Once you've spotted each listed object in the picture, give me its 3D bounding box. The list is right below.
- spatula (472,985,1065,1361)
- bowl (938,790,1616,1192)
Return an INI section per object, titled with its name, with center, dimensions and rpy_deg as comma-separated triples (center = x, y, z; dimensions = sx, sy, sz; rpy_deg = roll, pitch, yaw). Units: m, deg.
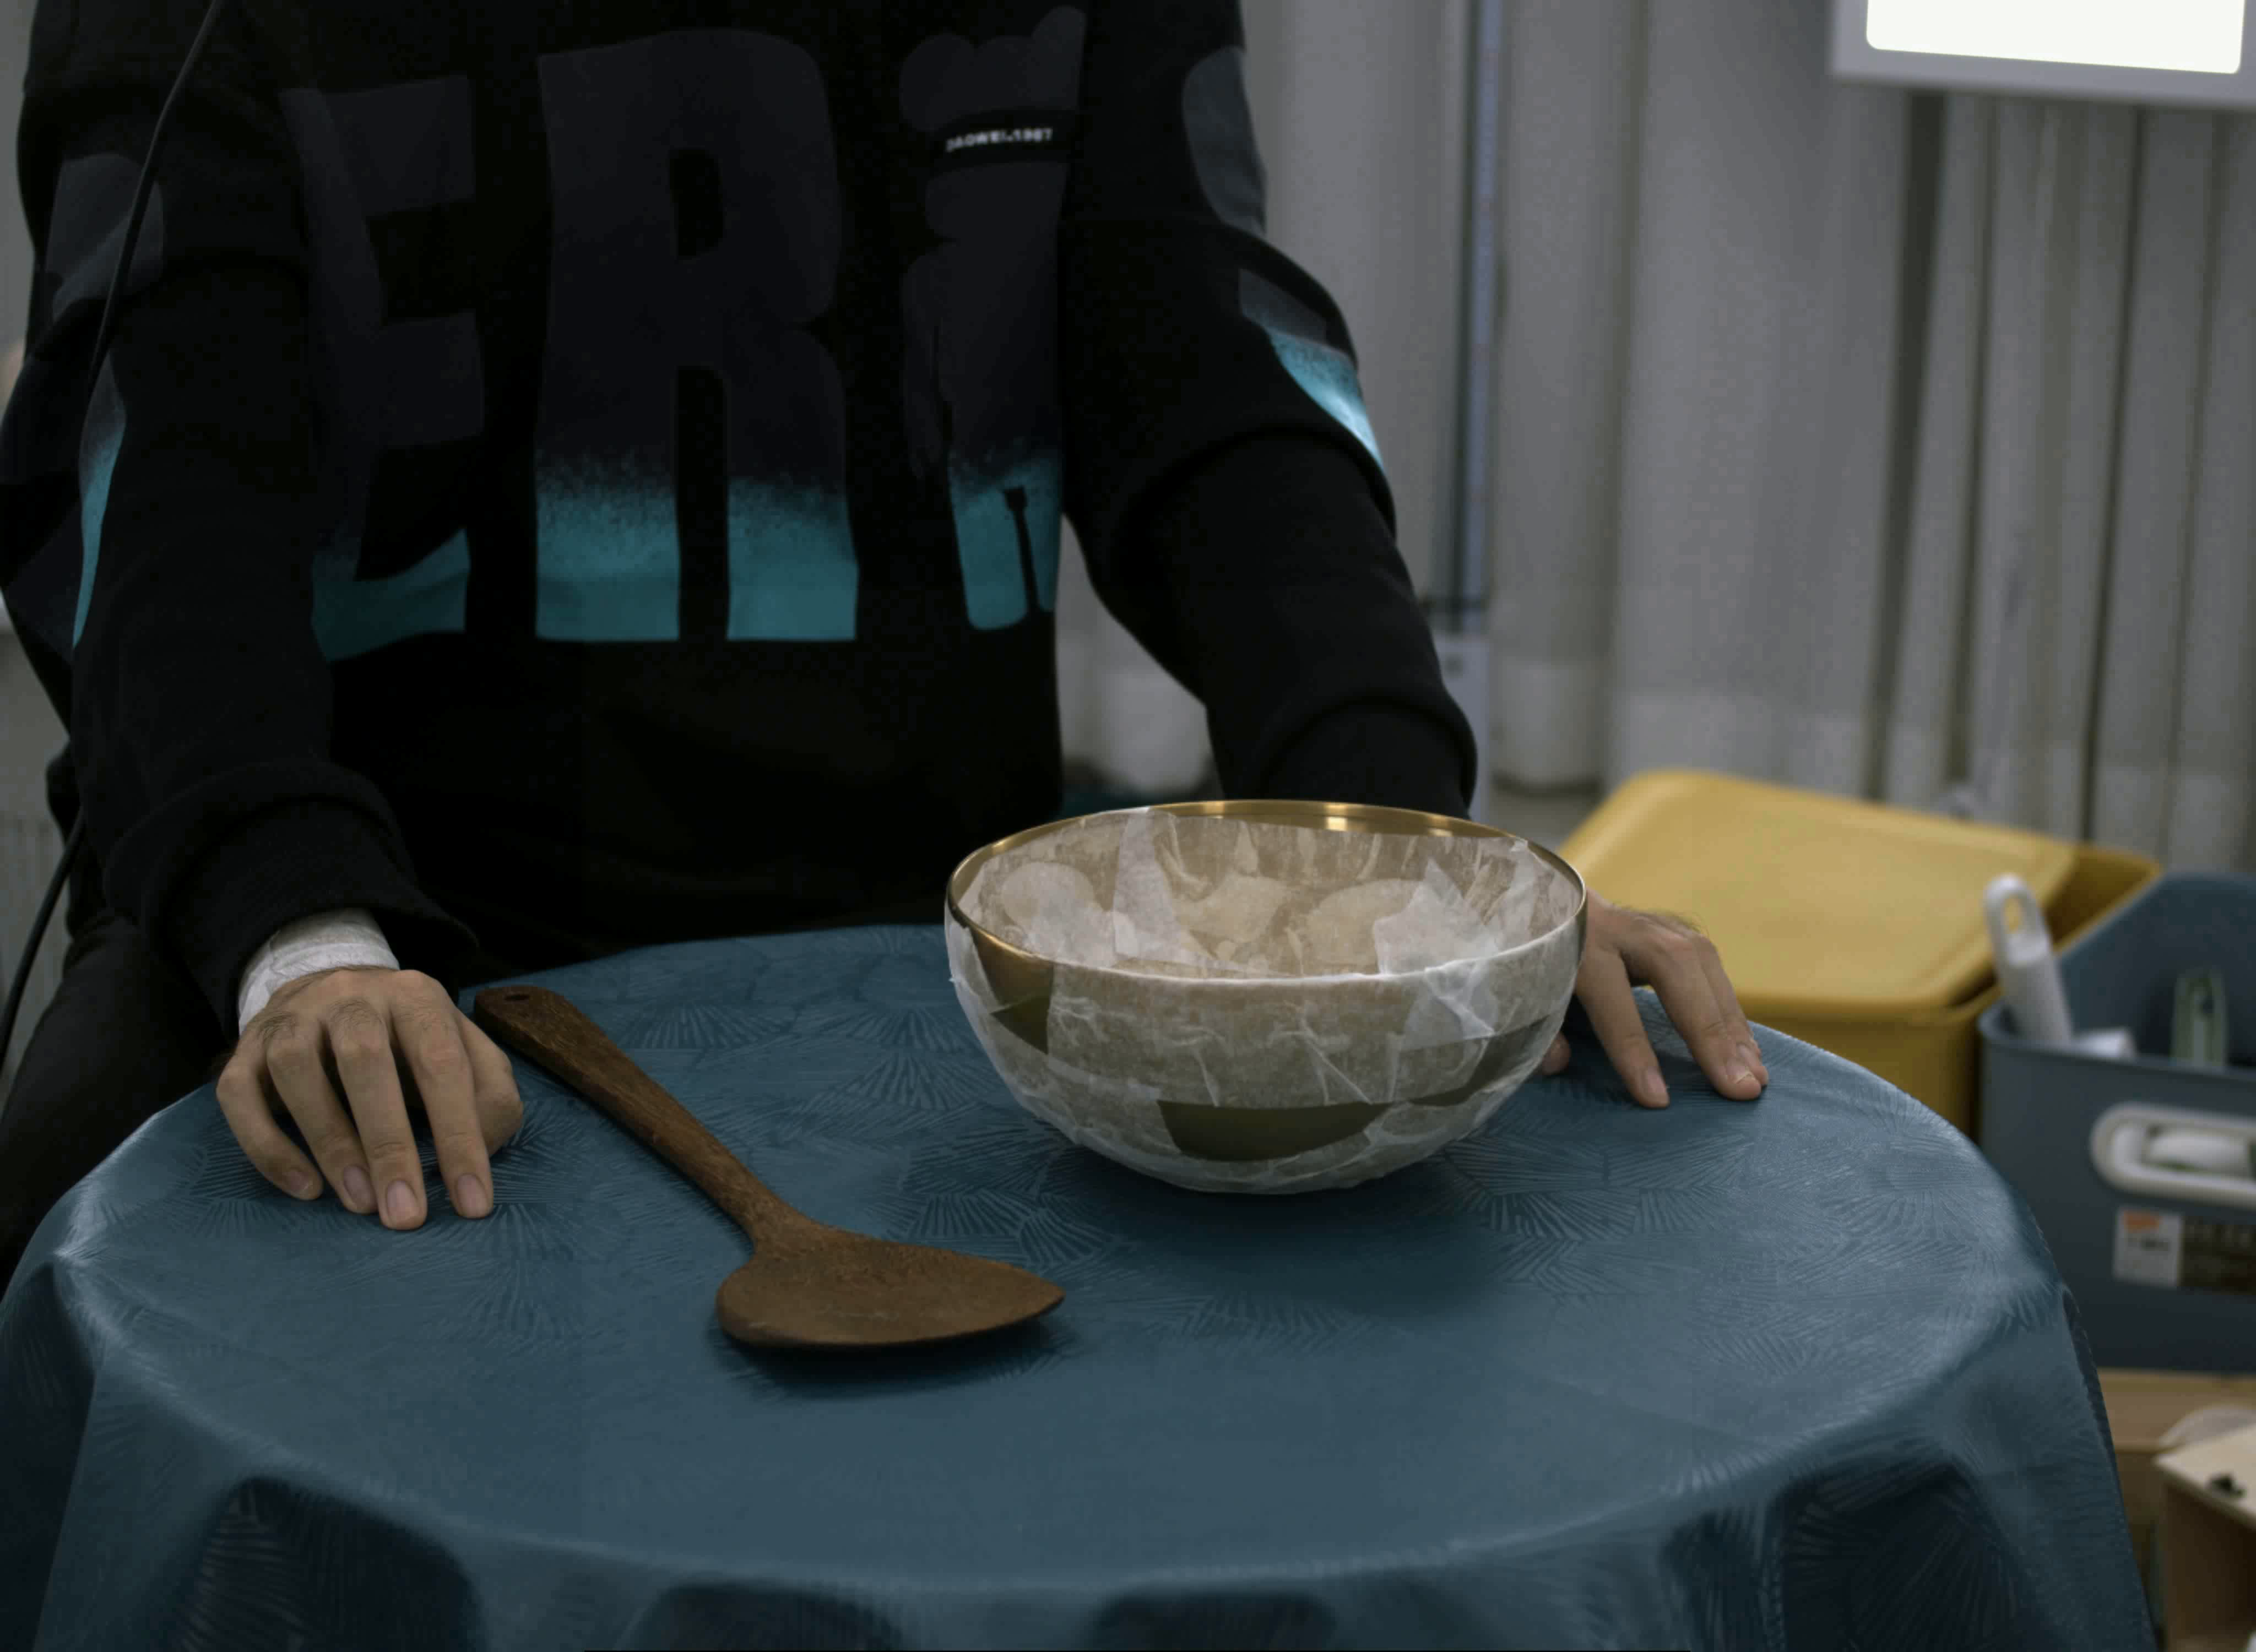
[spatula]
center = -0.134, 0.101, 1.636
dimensions = 0.096, 0.016, 0.381
rpy_deg = -6, 17, -25
[bowl]
center = 0.045, 0.059, 1.644
dimensions = 0.214, 0.095, 0.213
rpy_deg = -1, 16, 1
